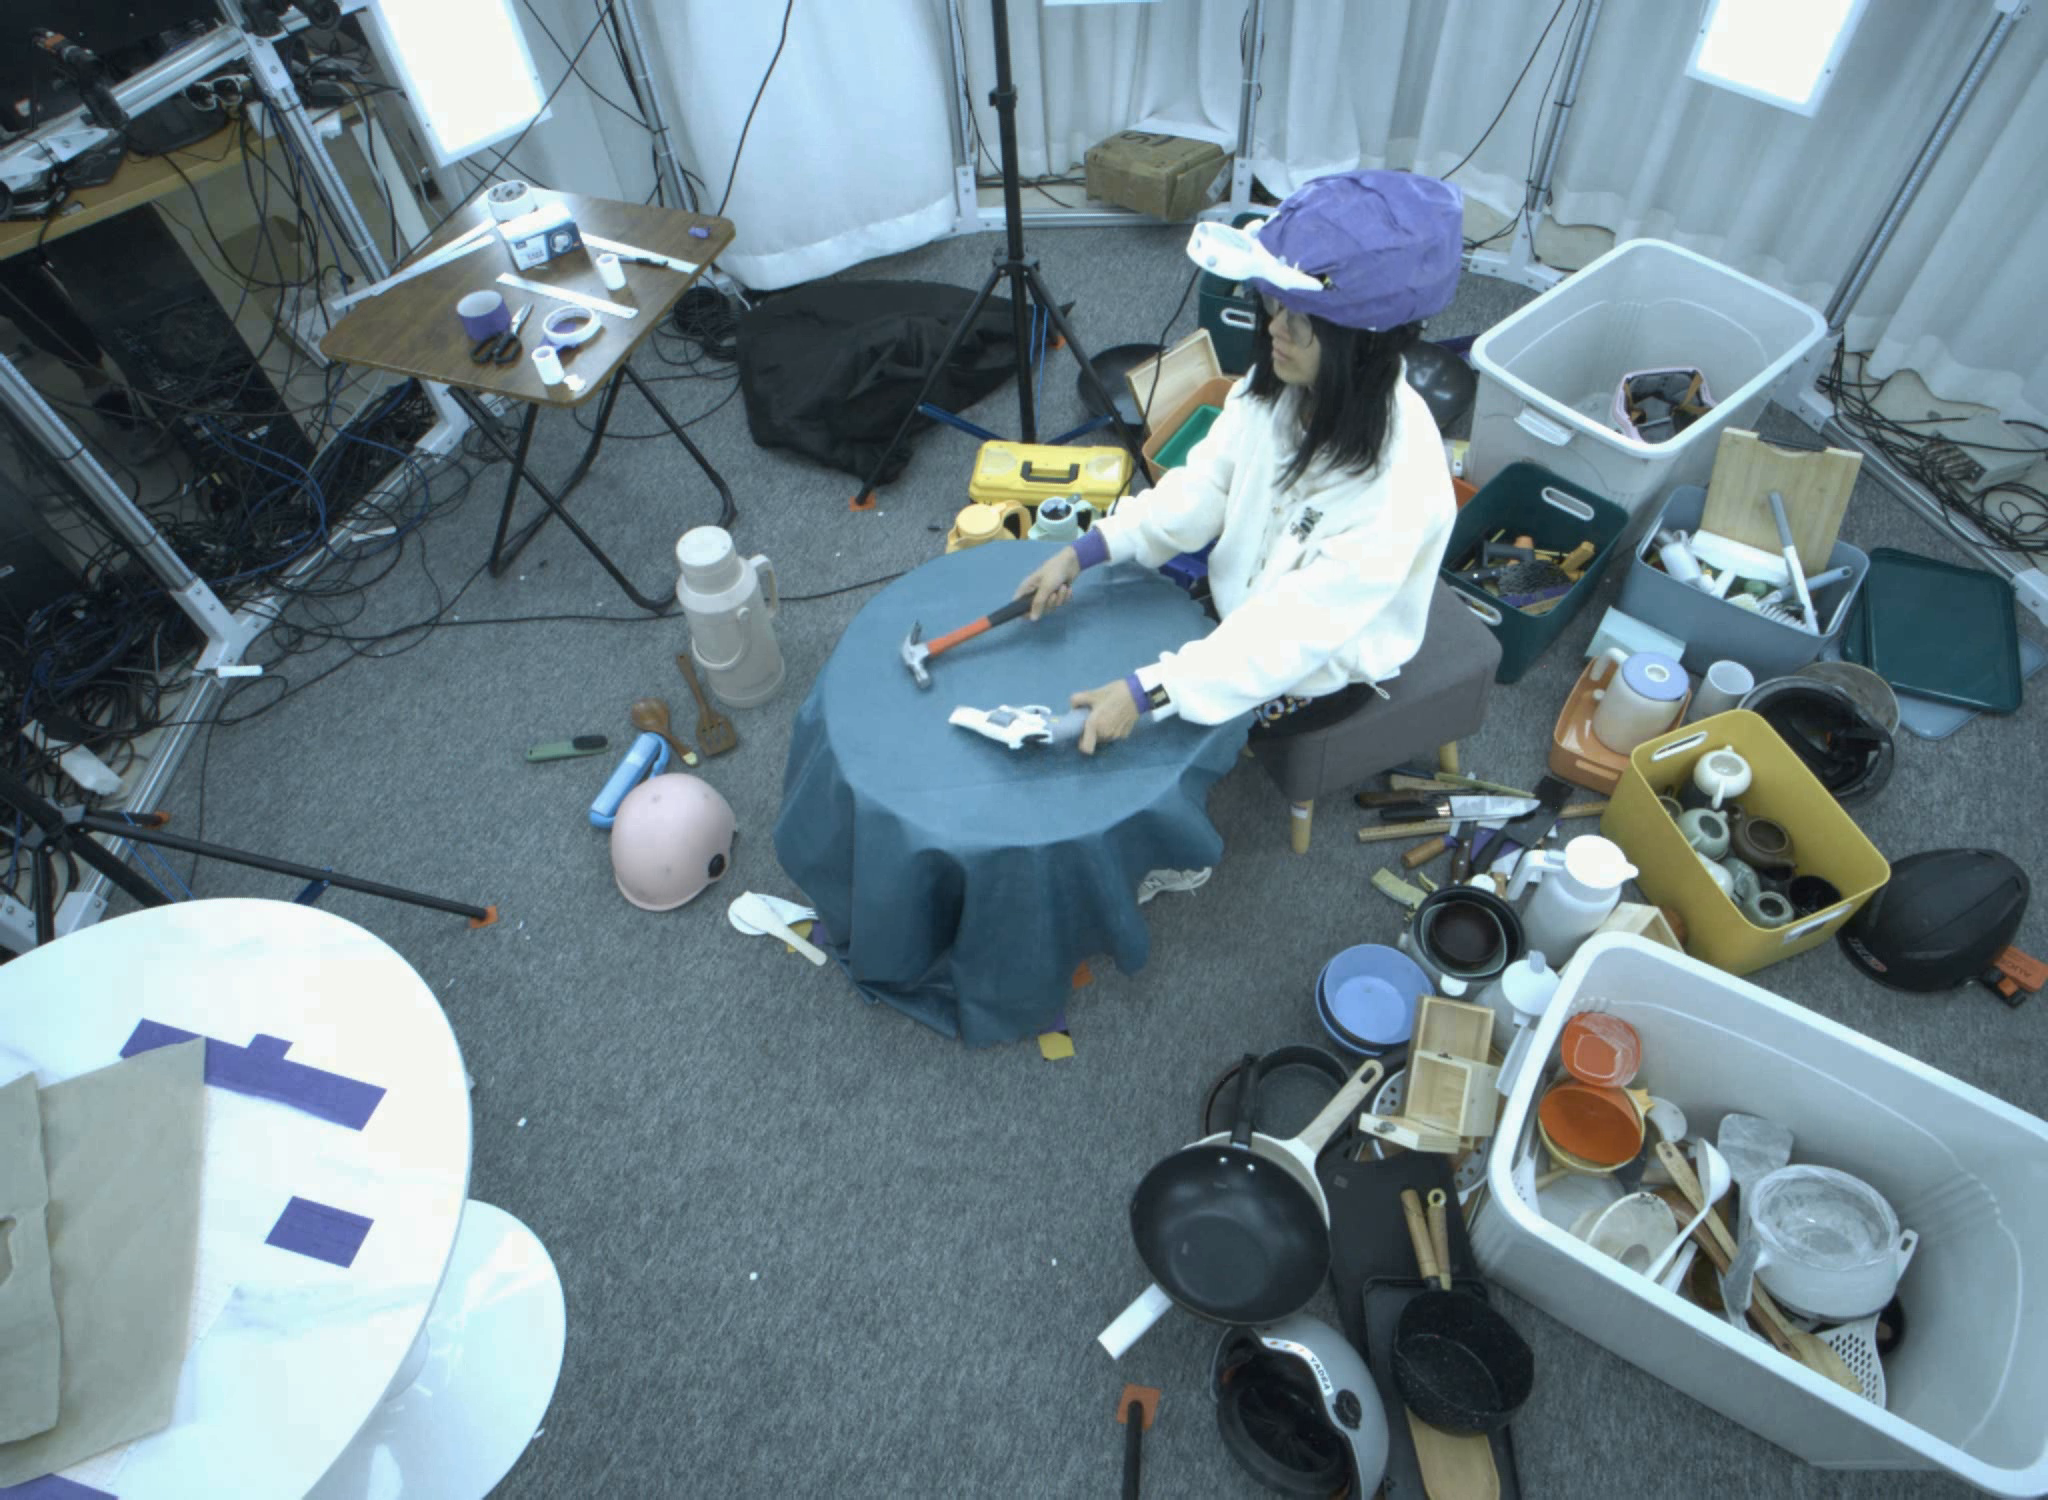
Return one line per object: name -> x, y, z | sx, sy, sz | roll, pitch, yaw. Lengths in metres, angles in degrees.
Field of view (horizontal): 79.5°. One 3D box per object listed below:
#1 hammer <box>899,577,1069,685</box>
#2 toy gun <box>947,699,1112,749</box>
hammer -> -0.061, -0.196, 1.882 | 0.278, 0.027, 0.108 | -26, 50, -3
toy gun -> 0.008, -0.047, 1.786 | 0.204, 0.039, 0.143 | 18, 38, 35
